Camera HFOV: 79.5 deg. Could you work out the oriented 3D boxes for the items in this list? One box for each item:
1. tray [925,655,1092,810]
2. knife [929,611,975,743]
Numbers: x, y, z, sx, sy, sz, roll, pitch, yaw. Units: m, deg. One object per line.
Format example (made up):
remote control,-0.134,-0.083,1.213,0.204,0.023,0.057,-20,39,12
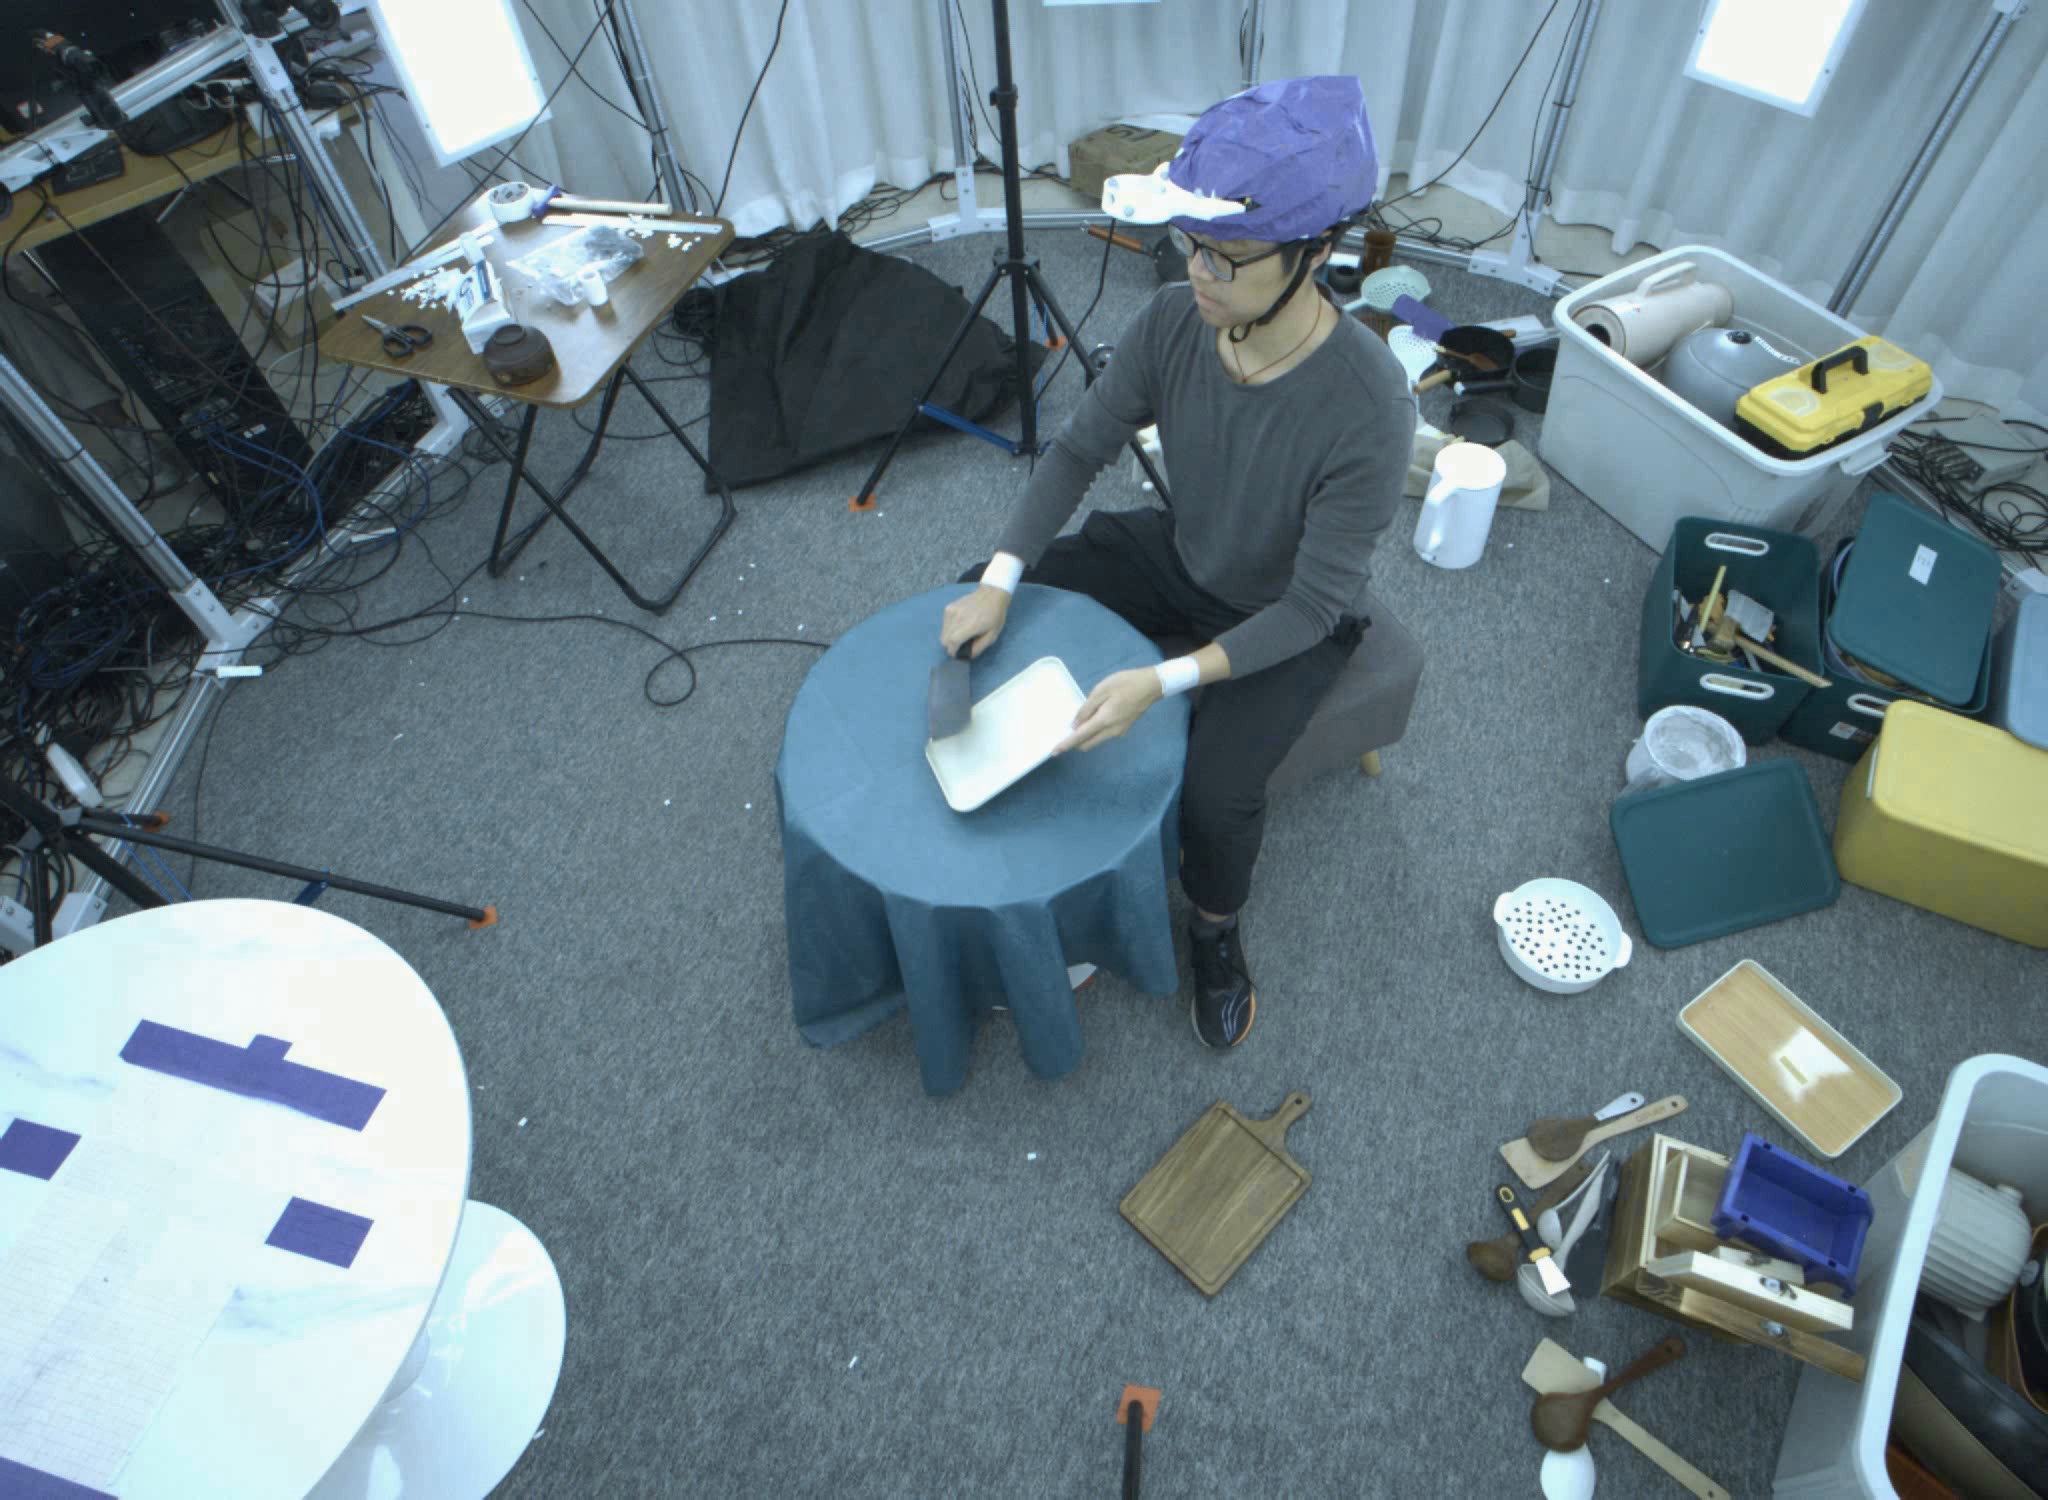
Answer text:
tray,-0.023,-0.025,1.740,0.239,0.018,0.168,-35,45,4
knife,-0.105,-0.114,1.813,0.080,0.021,0.299,-16,40,15
